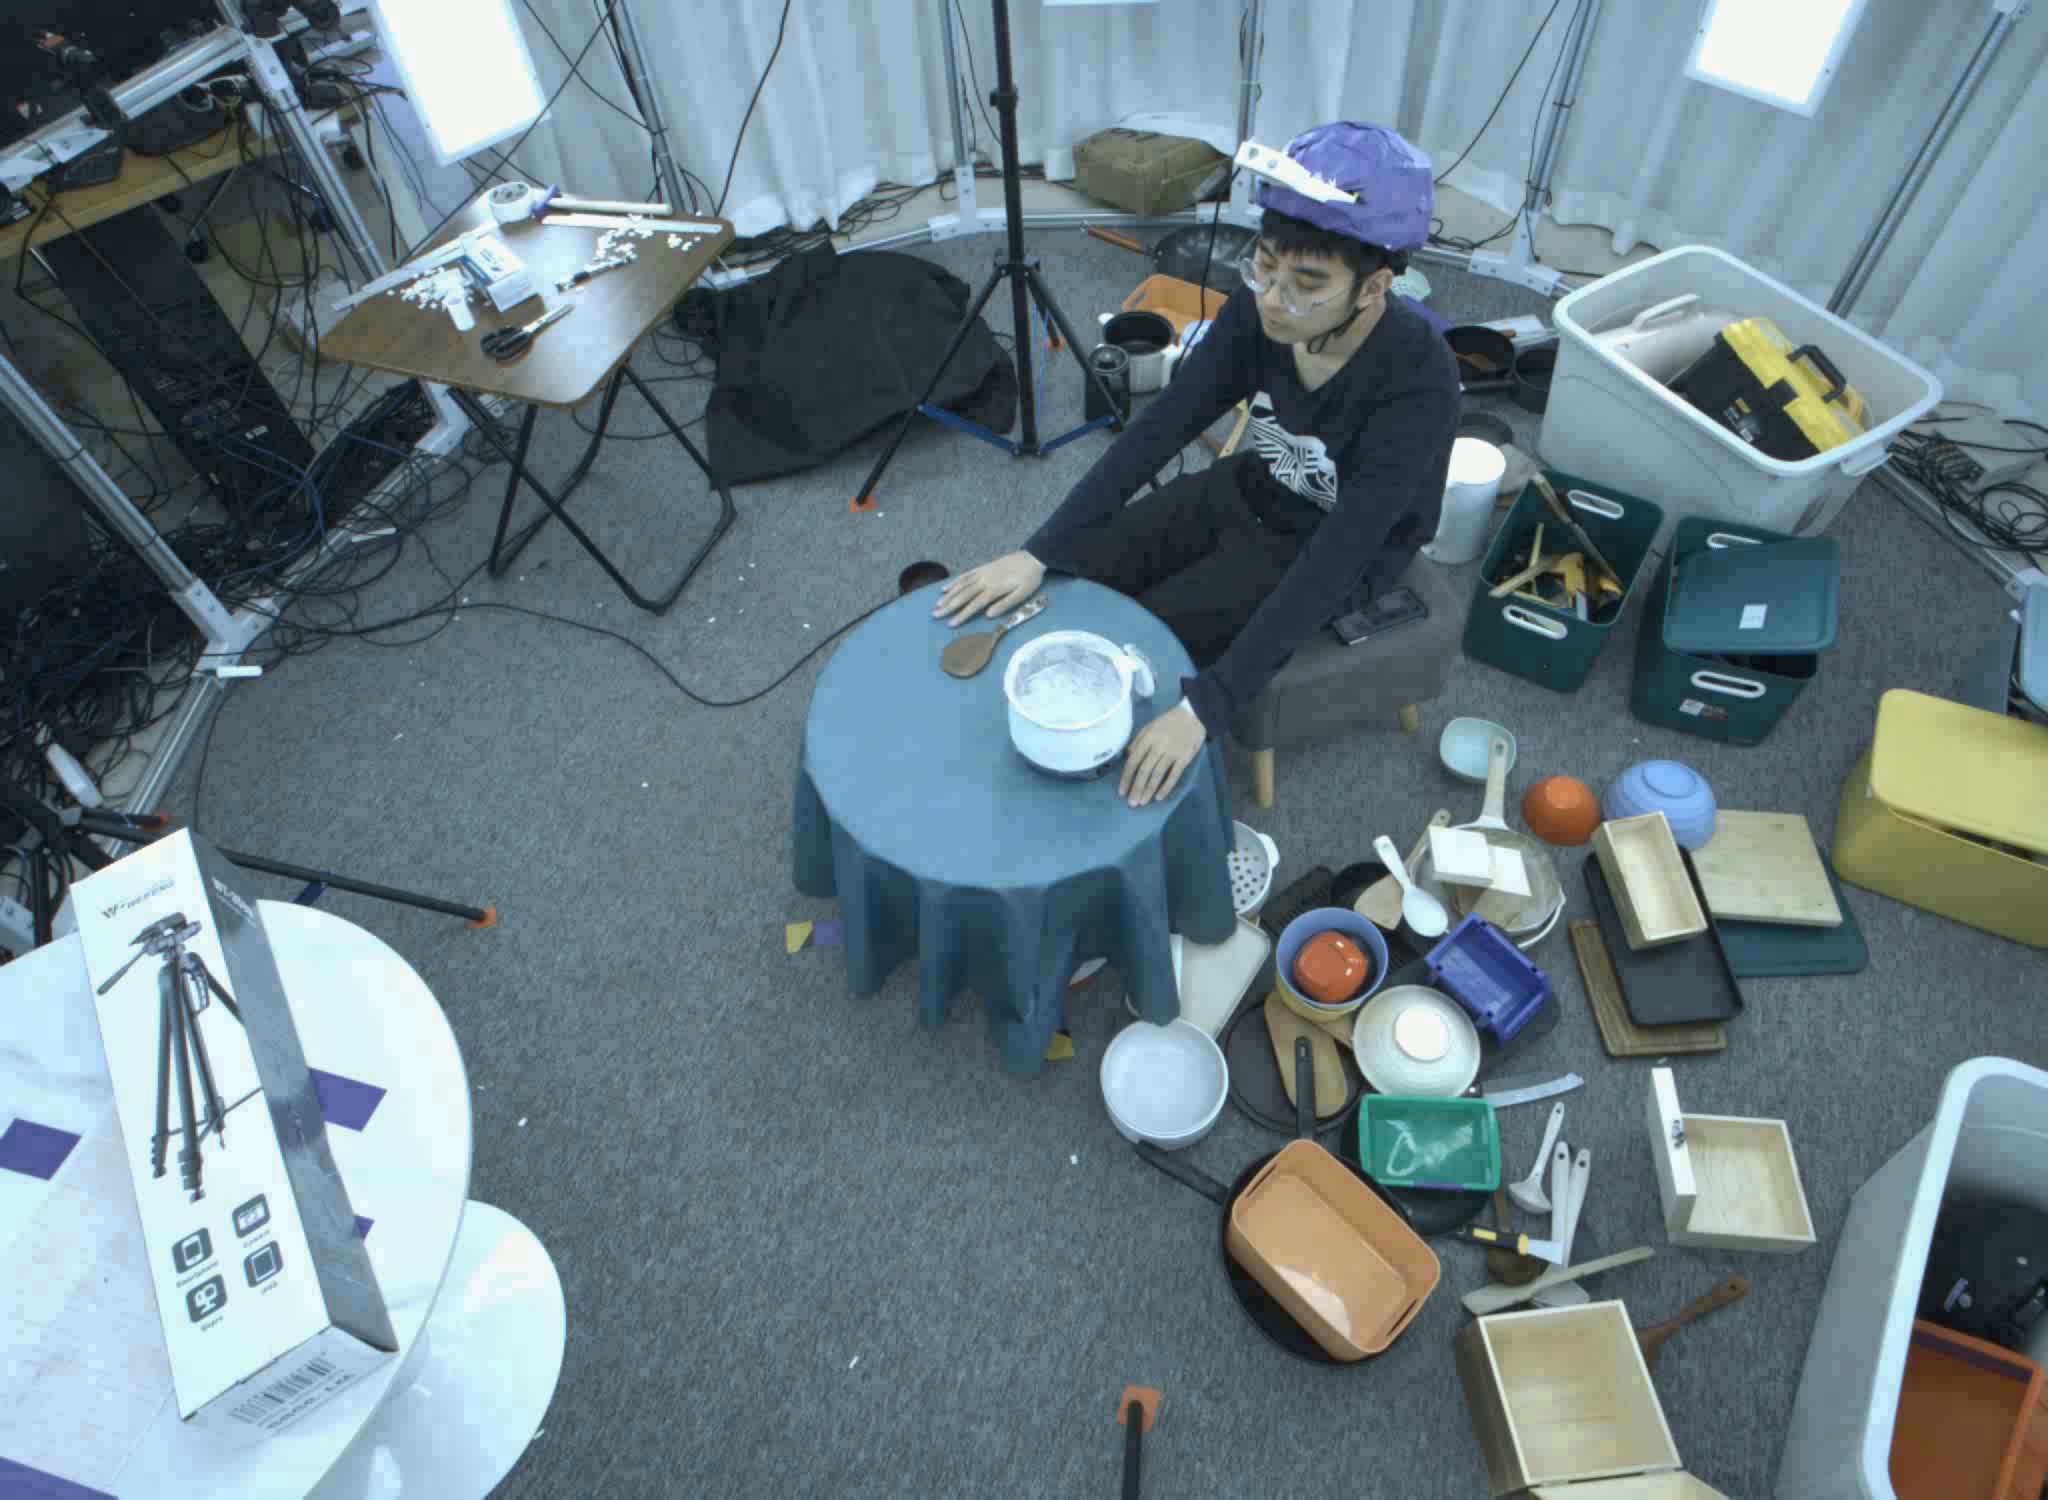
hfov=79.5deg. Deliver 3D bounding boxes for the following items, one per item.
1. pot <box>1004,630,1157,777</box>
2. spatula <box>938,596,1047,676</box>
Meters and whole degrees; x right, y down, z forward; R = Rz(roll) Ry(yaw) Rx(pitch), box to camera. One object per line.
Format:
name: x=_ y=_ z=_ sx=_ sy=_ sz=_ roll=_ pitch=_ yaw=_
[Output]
pot: x=0.087 y=-0.076 z=1.760 sx=0.235 sy=0.138 sz=0.175 roll=-29 pitch=61 yaw=-16
spatula: x=-0.042 y=-0.182 z=1.924 sx=0.217 sy=0.009 sz=0.070 roll=-37 pitch=63 yaw=-24
